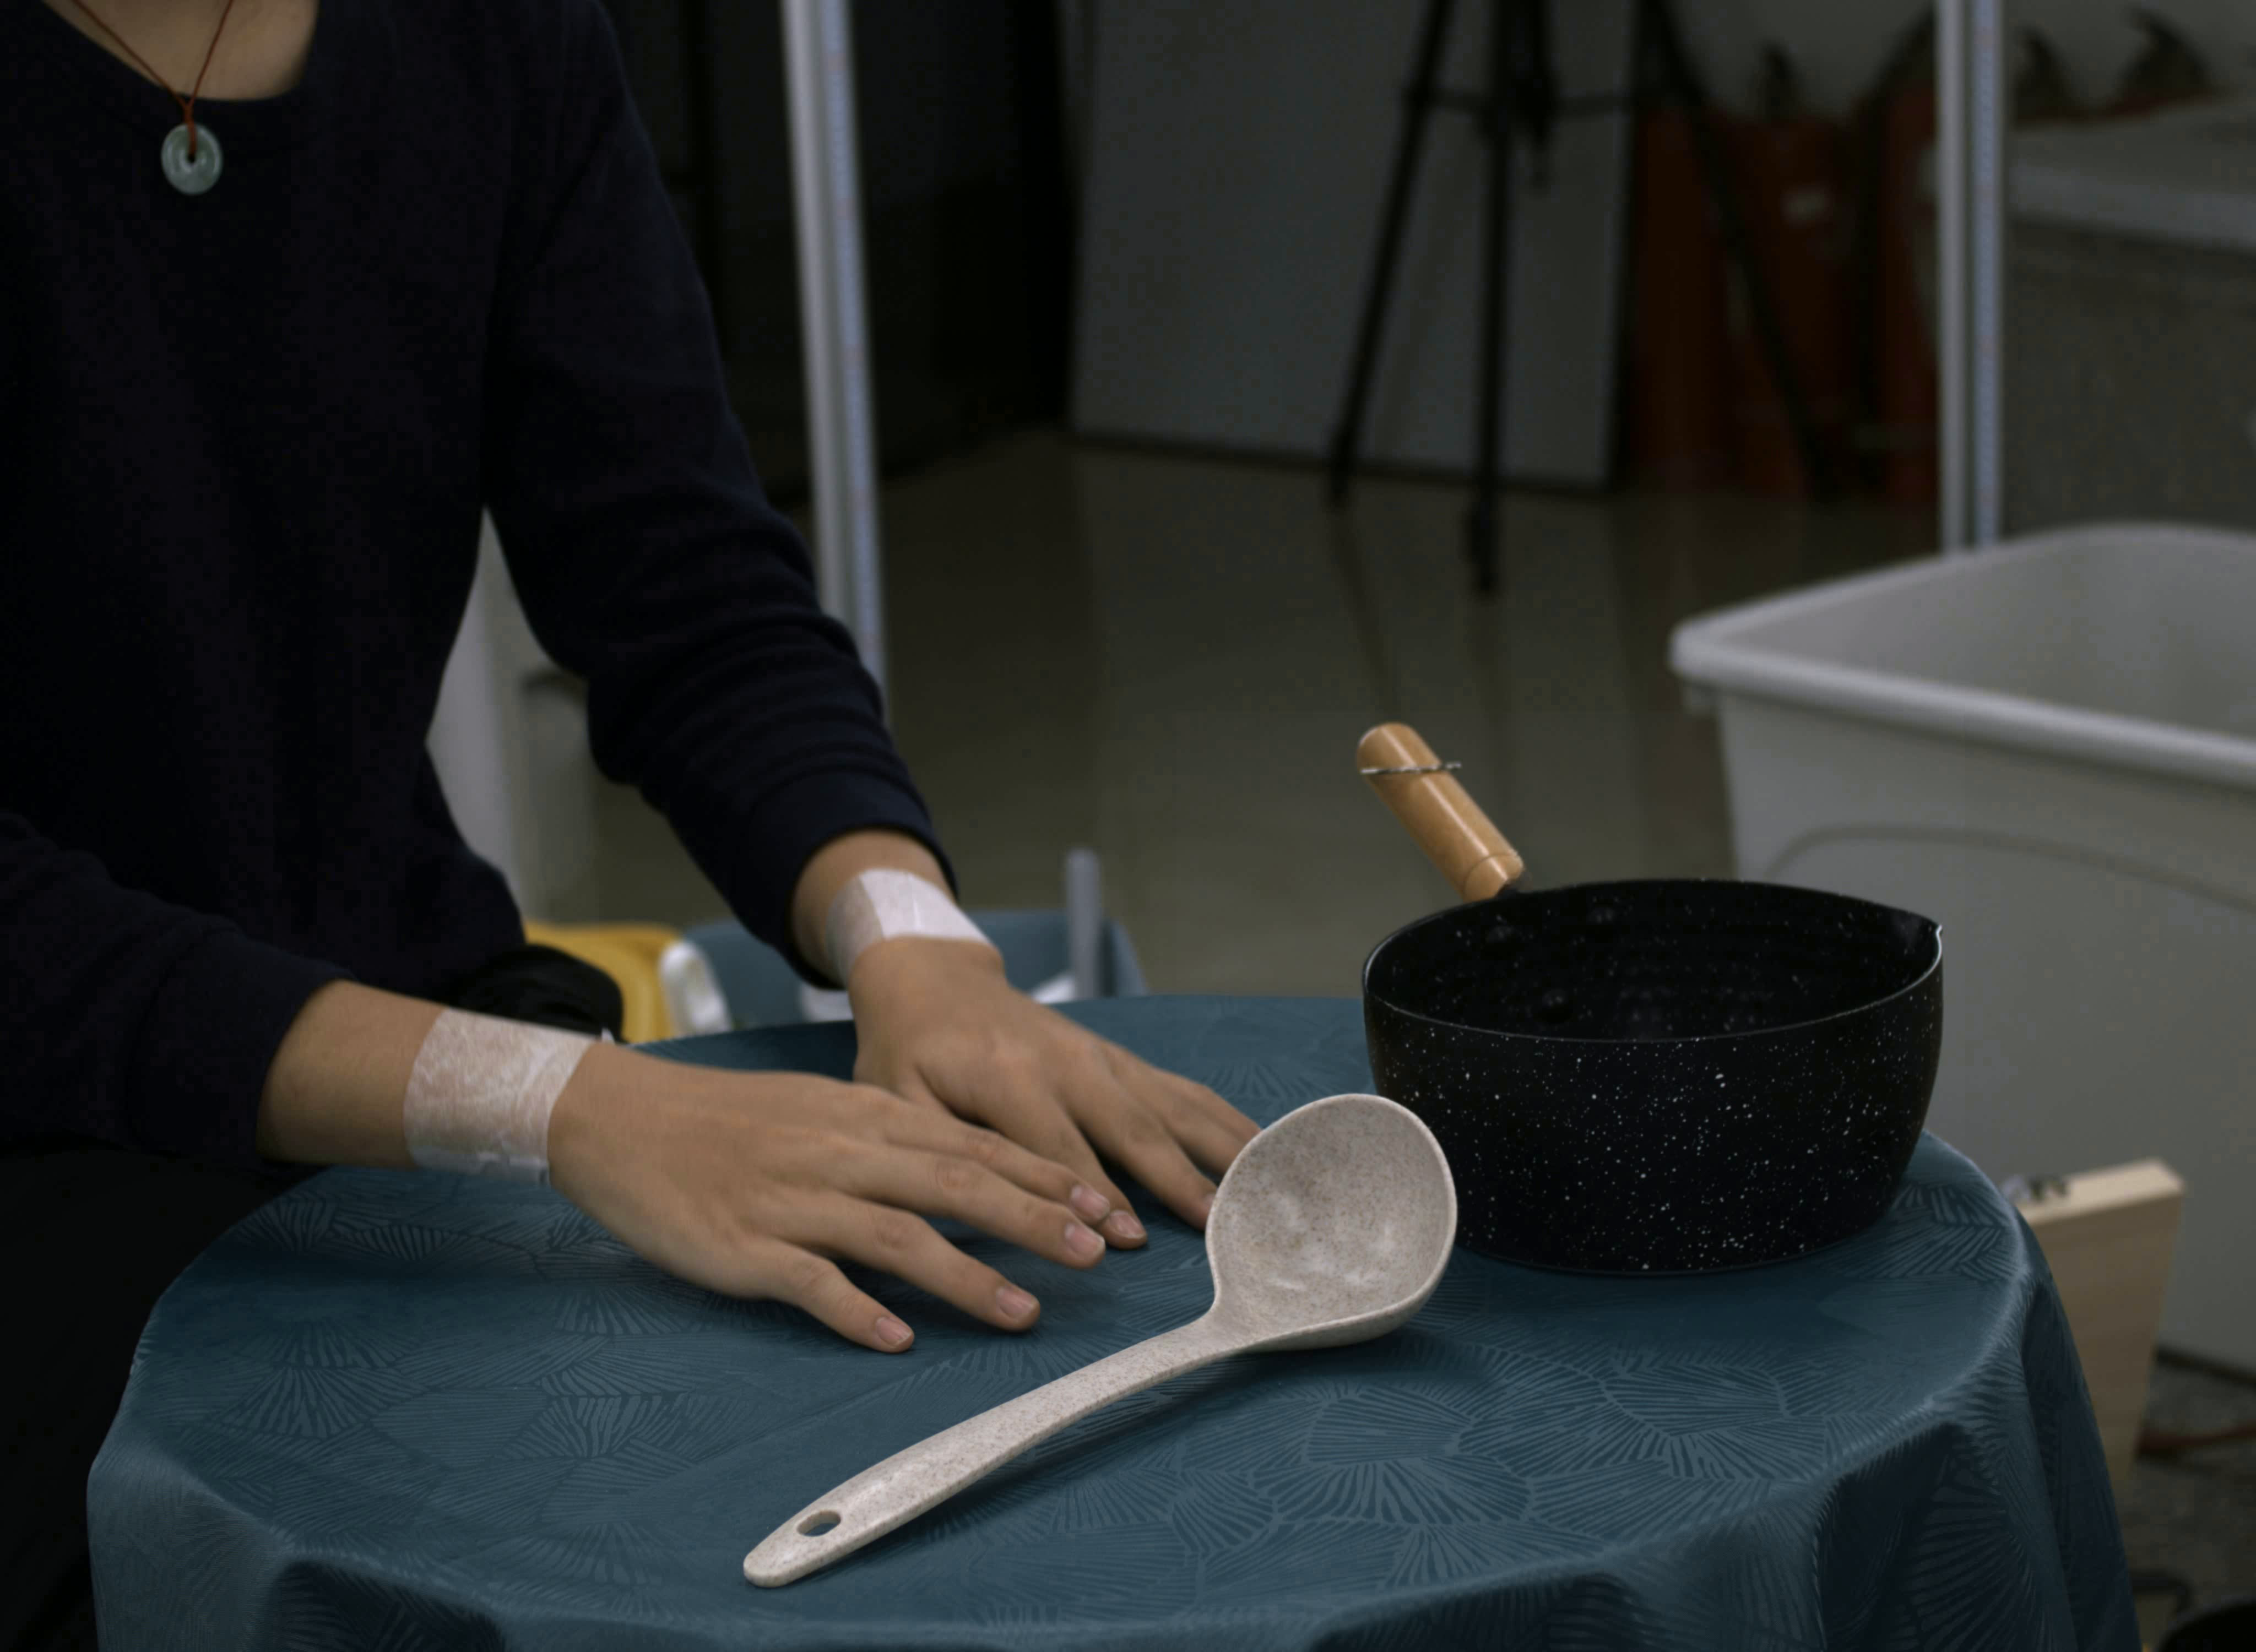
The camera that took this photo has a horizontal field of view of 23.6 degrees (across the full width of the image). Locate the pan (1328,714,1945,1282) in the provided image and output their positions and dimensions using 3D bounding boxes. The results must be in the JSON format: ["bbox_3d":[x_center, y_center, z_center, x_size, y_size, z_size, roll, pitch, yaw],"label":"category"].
[{"bbox_3d":[0.142,0.052,1.782,0.203,0.109,0.346,-9,16,-16],"label":"pan"}]

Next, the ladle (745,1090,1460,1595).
[{"bbox_3d":[-0.009,0.143,1.540,0.090,0.070,0.269,21,27,37],"label":"ladle"}]
